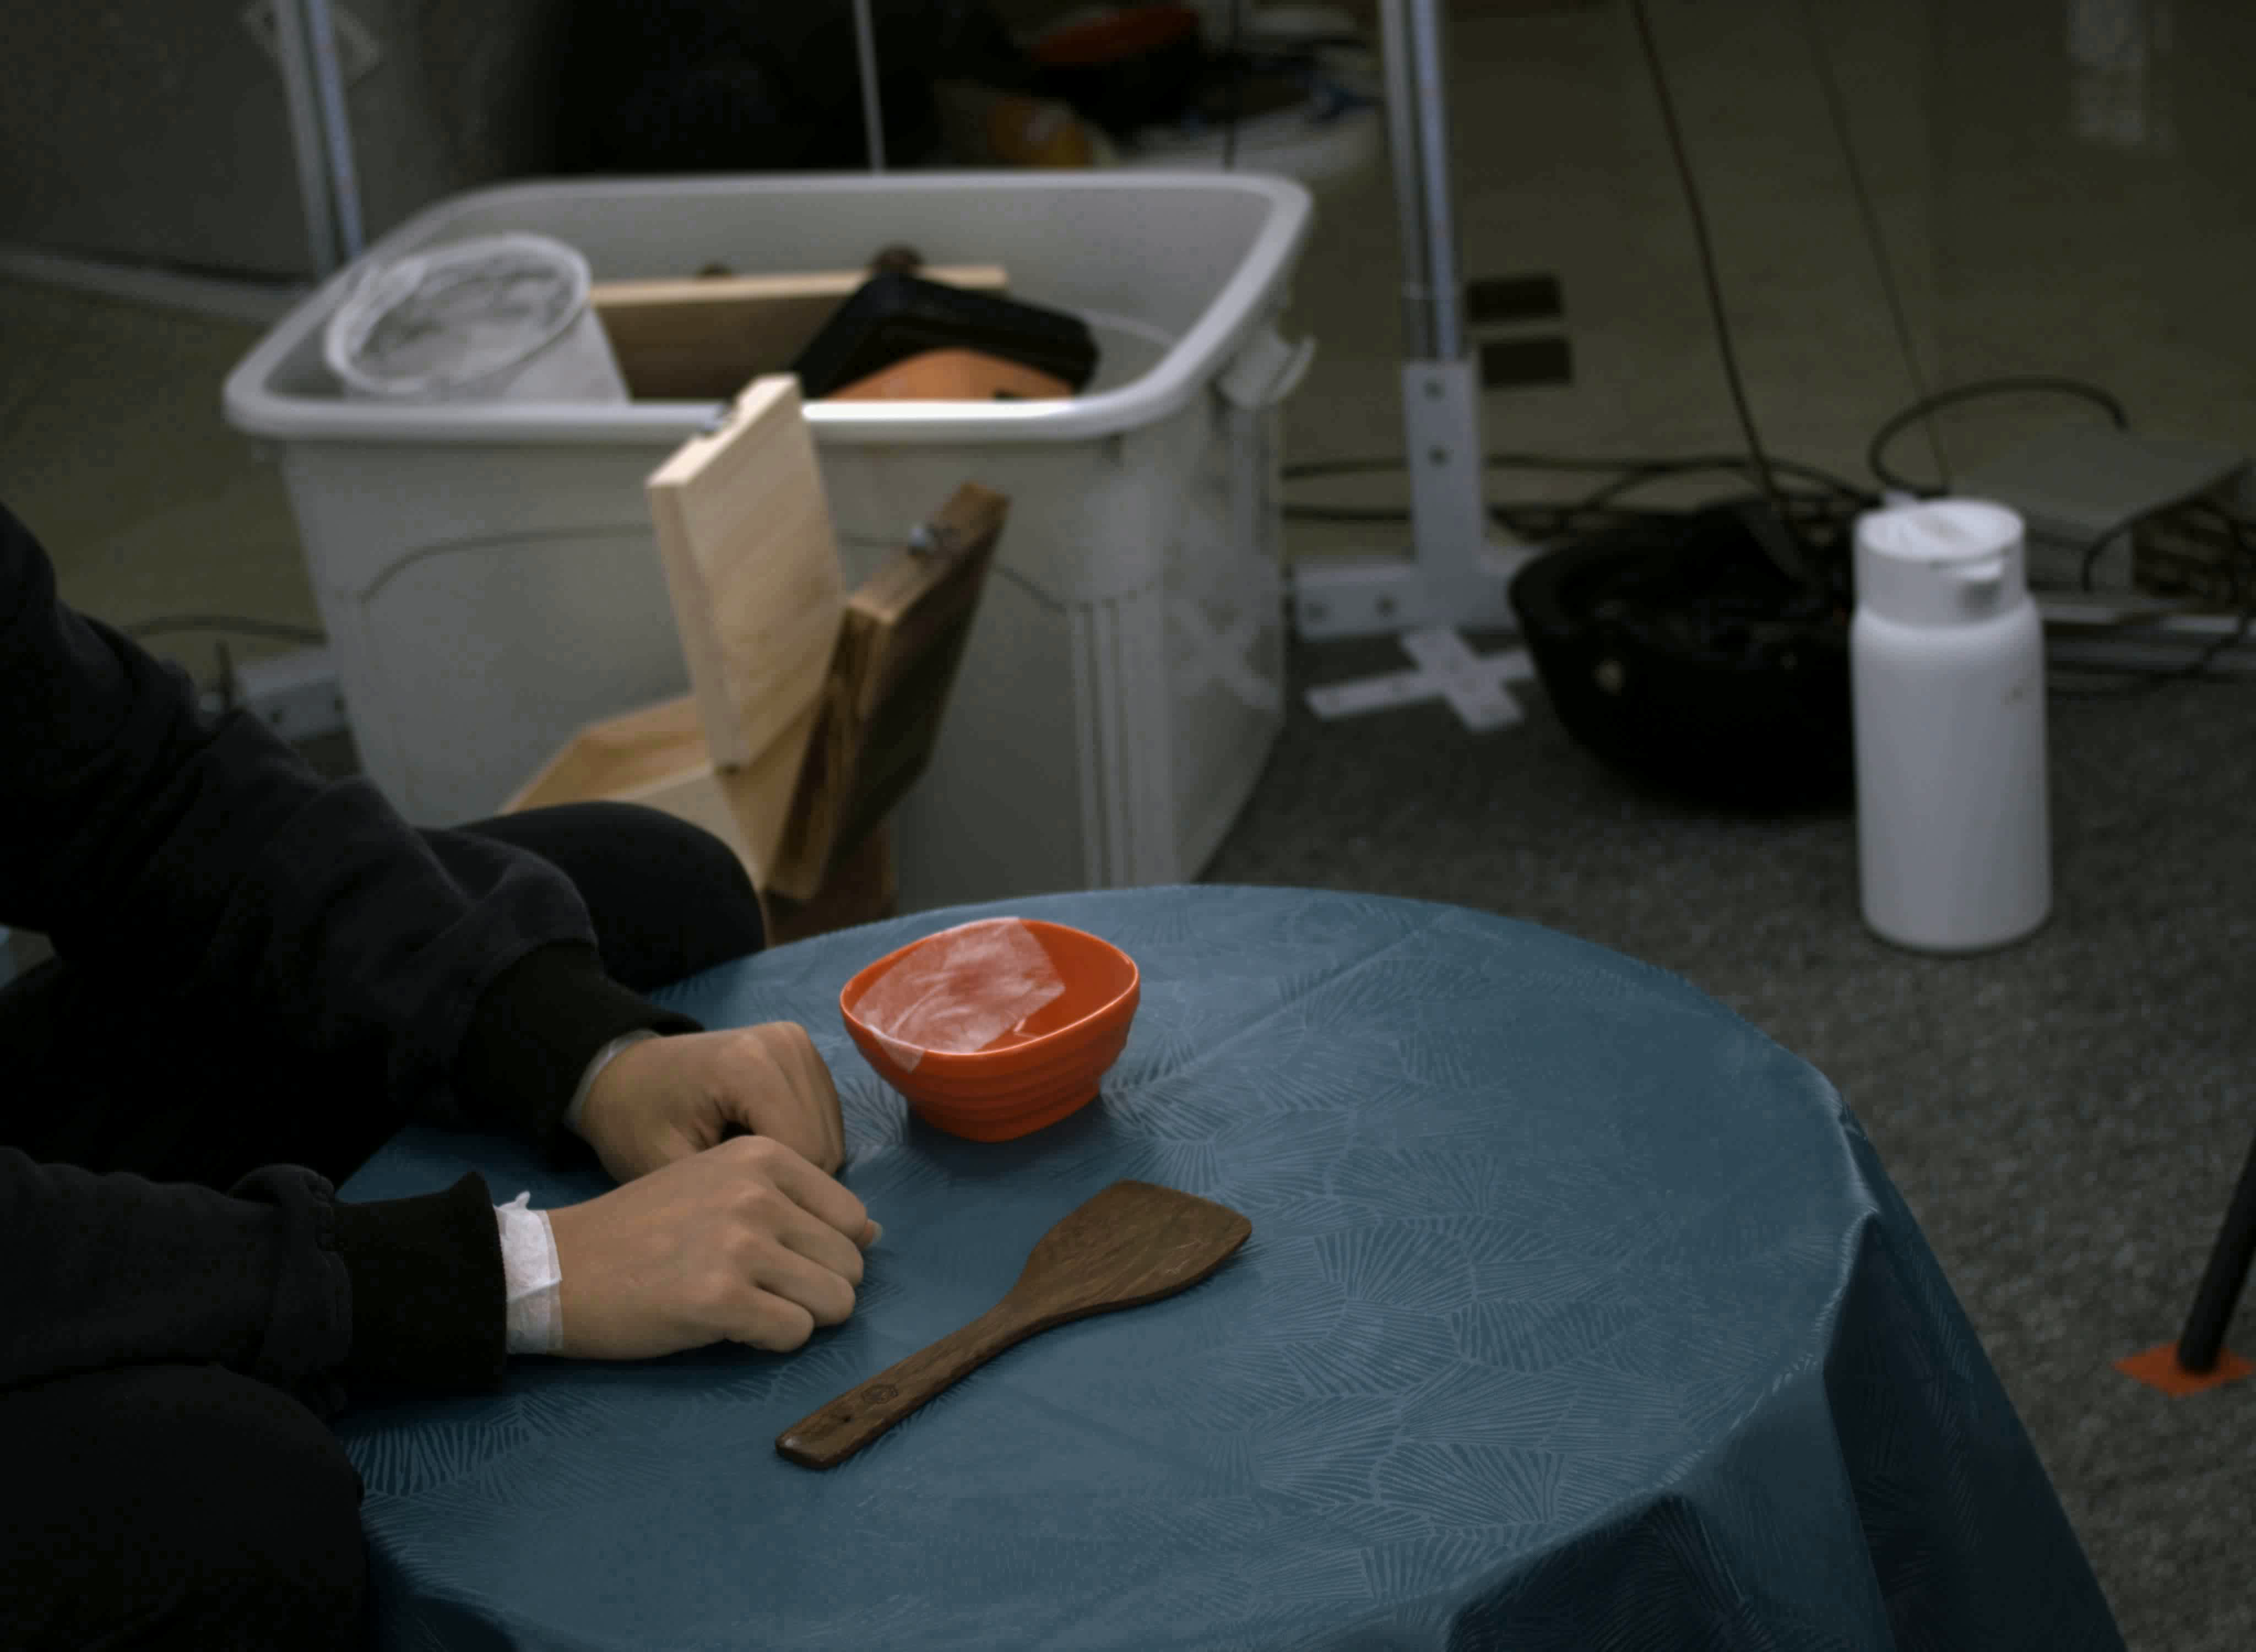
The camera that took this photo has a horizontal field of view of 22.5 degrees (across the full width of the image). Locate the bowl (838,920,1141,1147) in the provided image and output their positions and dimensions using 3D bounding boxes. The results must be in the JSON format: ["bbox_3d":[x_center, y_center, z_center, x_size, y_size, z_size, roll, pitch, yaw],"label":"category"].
[{"bbox_3d":[-0.052,0.086,2.222,0.119,0.052,0.117,-4,26,2],"label":"bowl"}]

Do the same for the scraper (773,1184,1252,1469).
[{"bbox_3d":[-0.047,0.183,2.061,0.075,0.011,0.209,16,34,42],"label":"scraper"}]
